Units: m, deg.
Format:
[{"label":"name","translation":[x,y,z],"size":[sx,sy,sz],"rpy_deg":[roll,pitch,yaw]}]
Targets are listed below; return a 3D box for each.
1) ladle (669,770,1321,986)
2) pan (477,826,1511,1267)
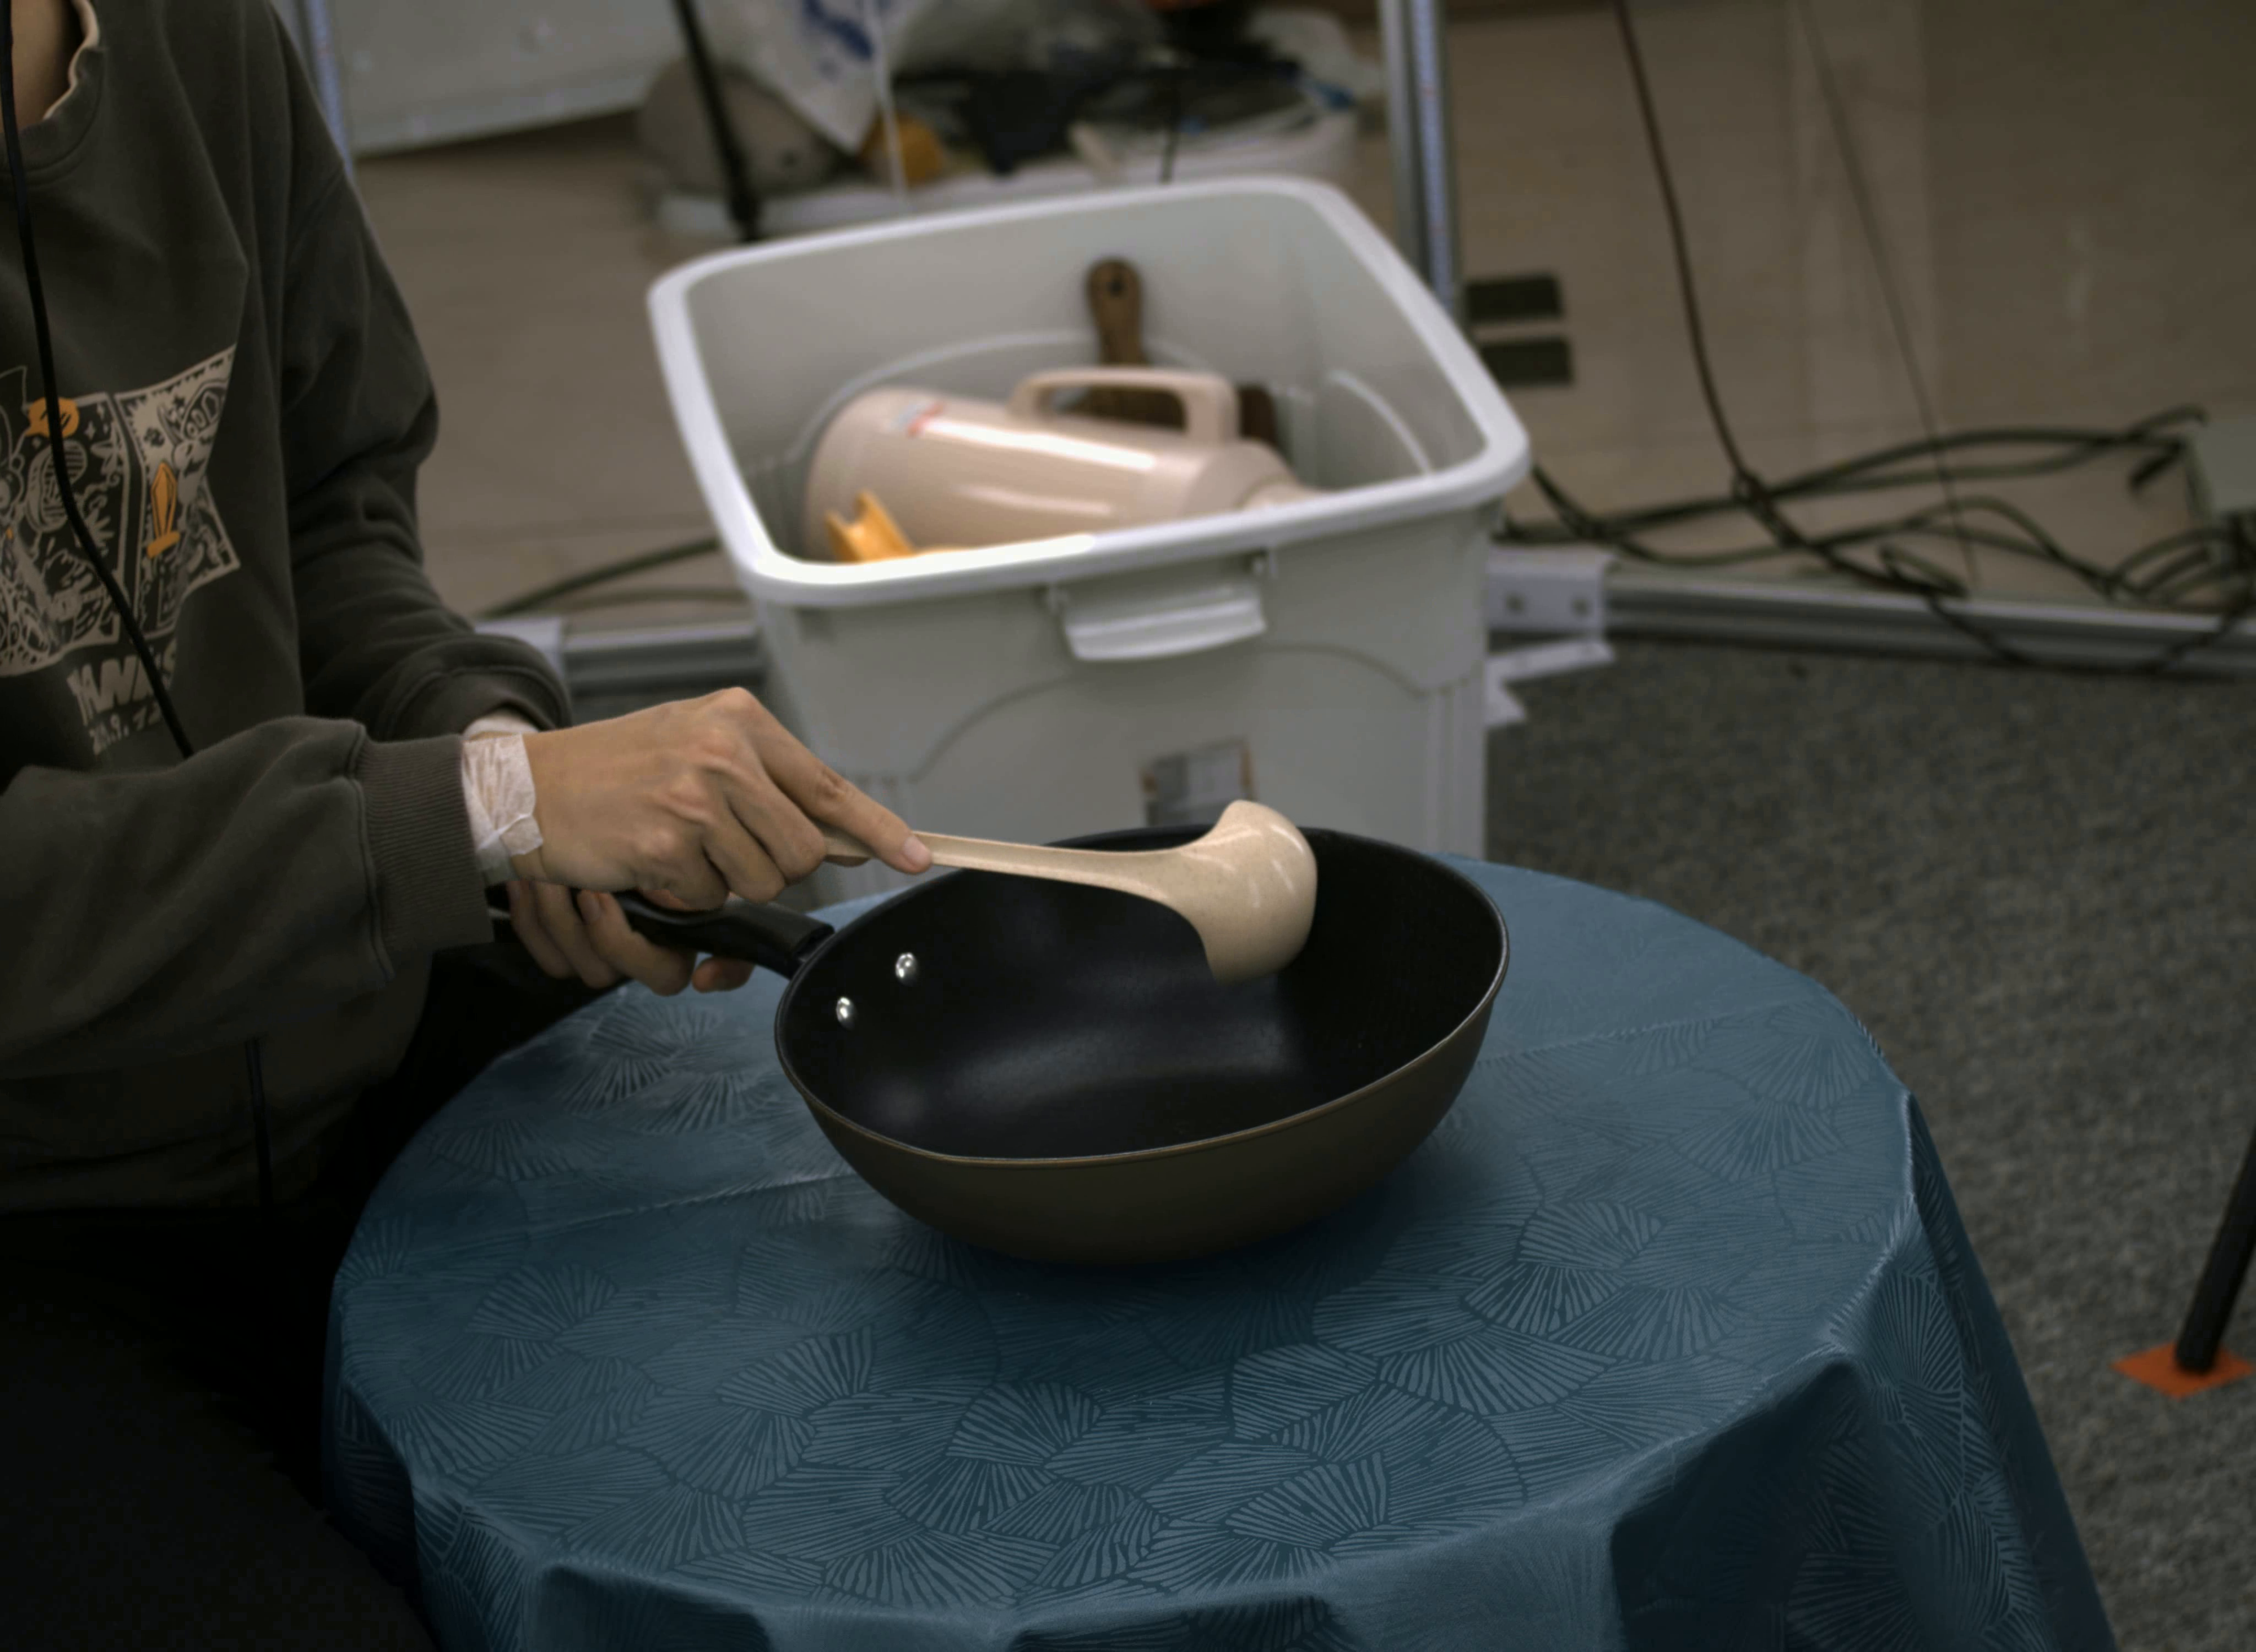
[{"label":"ladle","translation":[-0.053,0.009,2.192],"size":[0.254,0.072,0.073],"rpy_deg":[10,0,-5]},{"label":"pan","translation":[-0.067,0.082,2.189],"size":[0.461,0.088,0.285],"rpy_deg":[8,29,33]}]
